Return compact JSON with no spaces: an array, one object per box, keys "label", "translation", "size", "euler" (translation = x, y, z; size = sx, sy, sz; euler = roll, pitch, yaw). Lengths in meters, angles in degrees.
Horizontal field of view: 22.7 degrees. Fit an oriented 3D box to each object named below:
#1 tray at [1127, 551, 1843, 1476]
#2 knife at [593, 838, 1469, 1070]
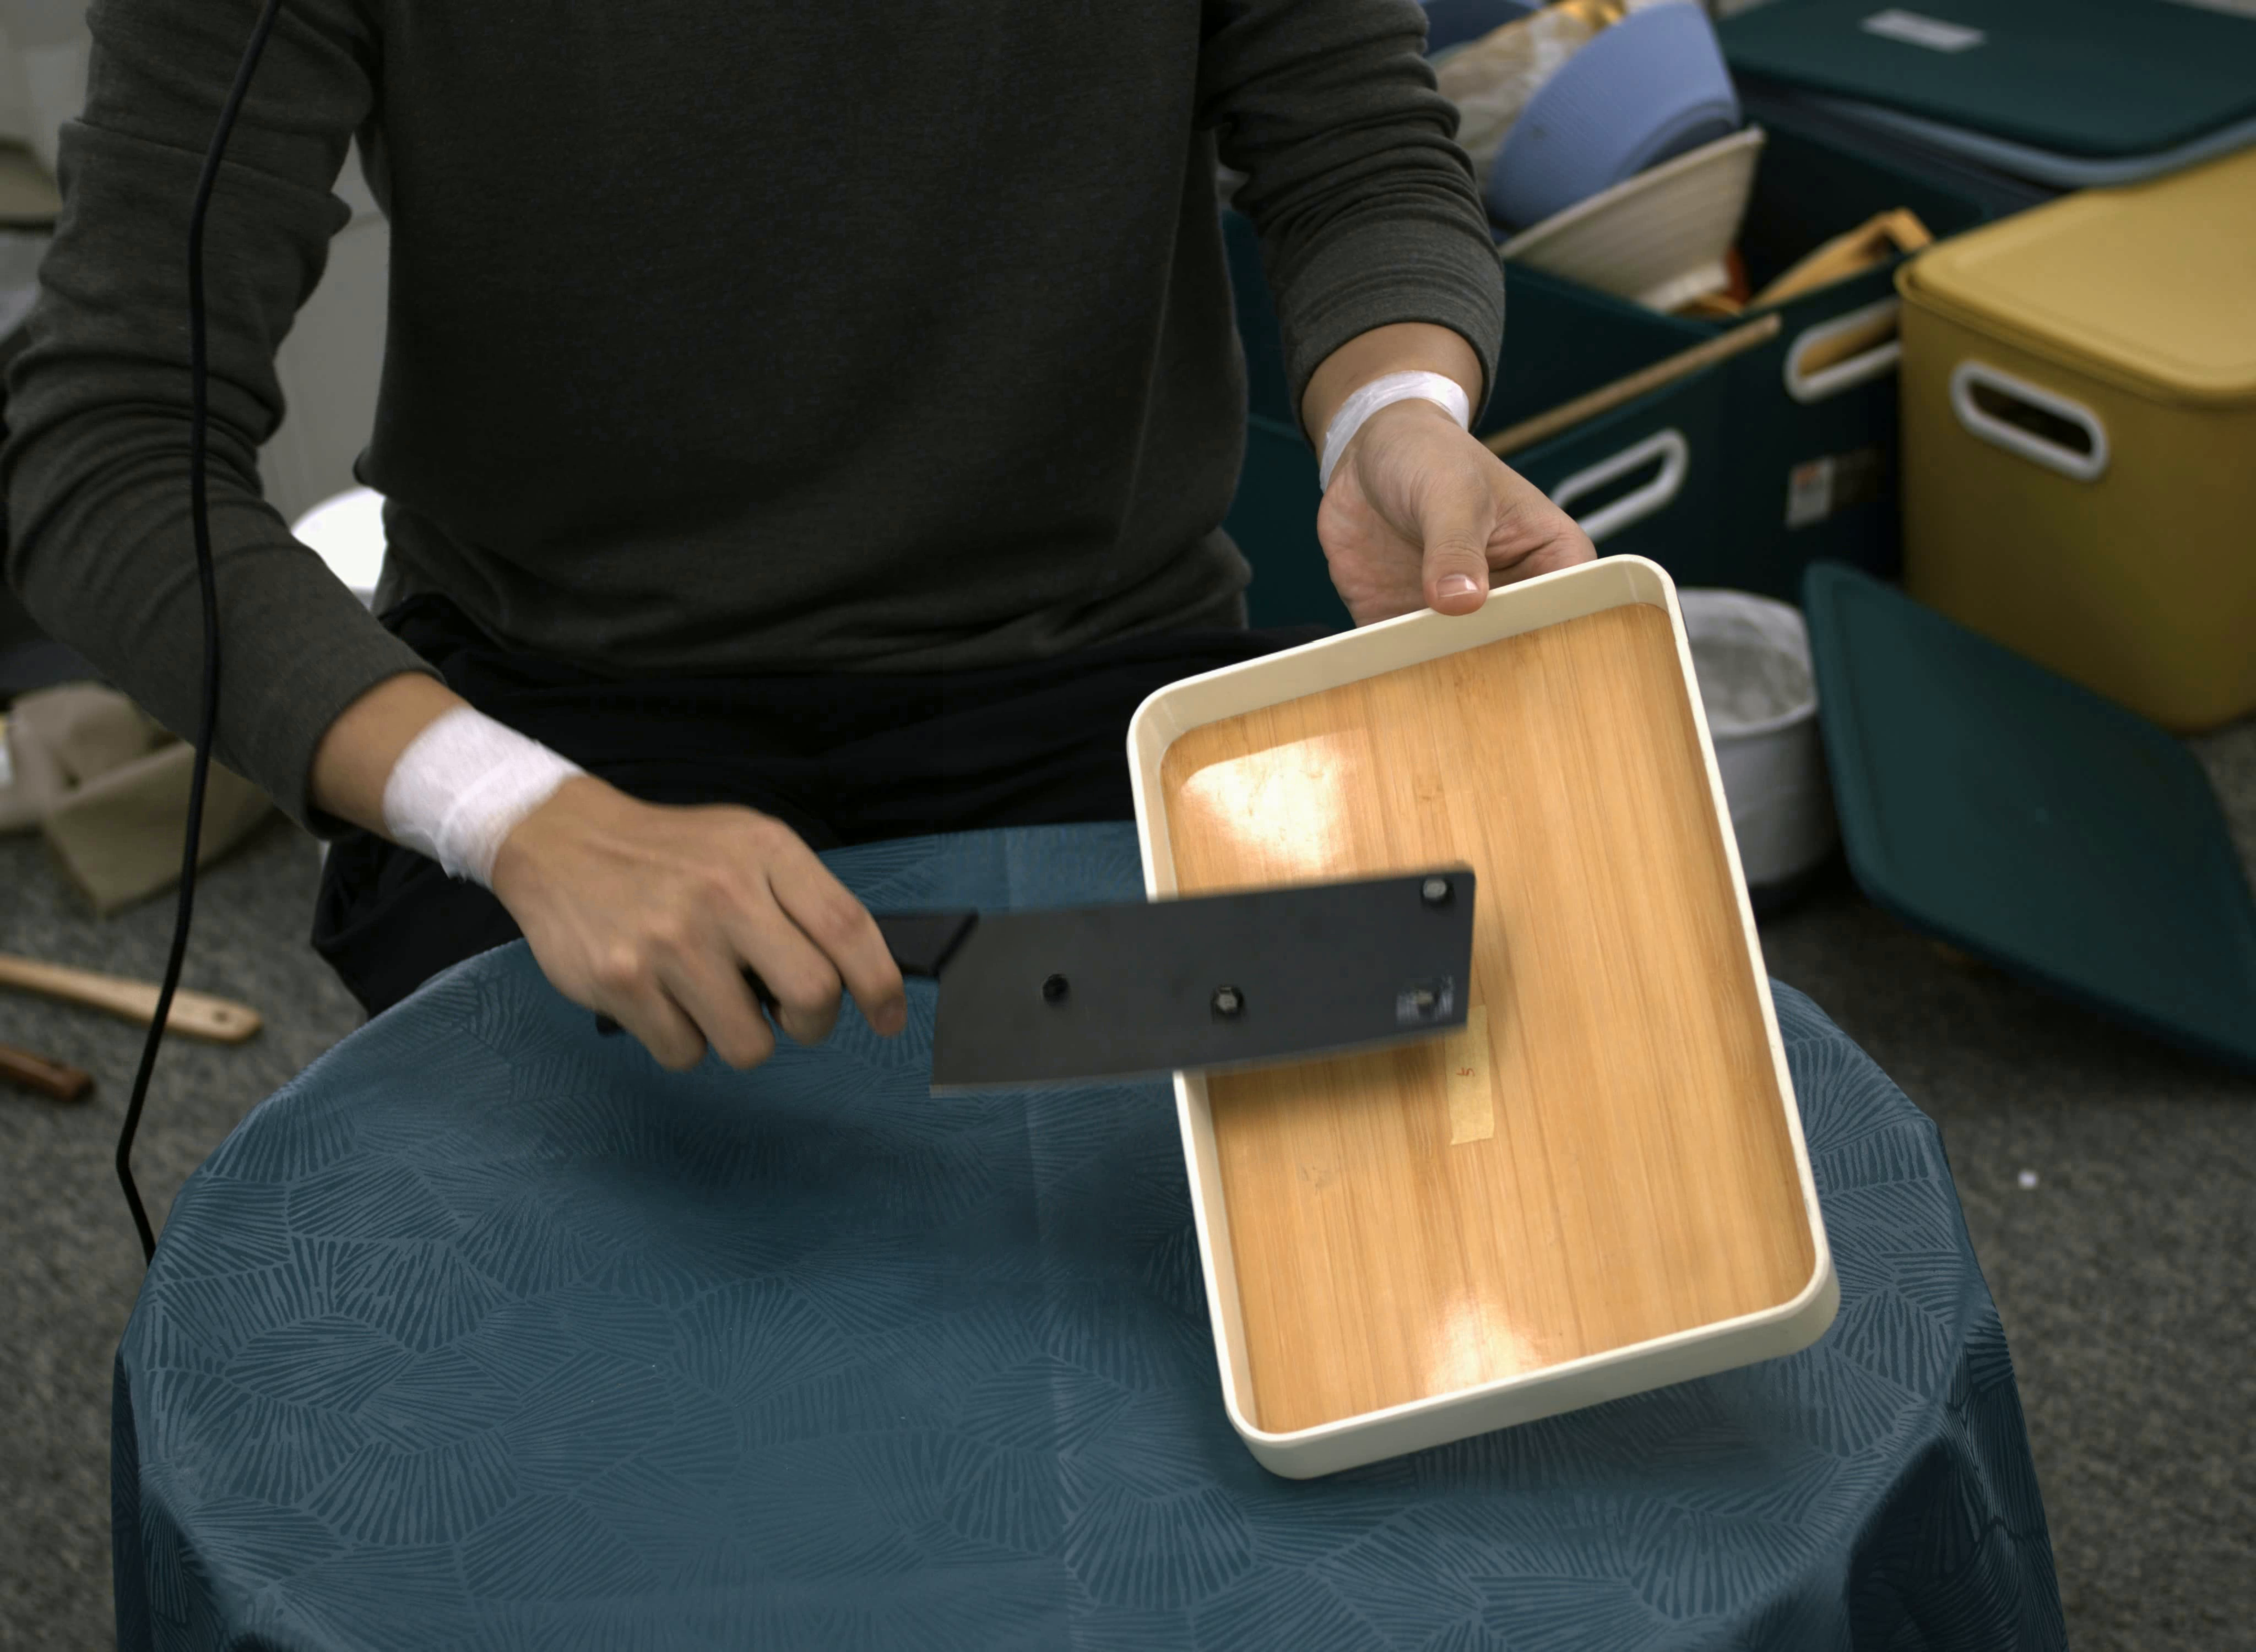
[{"label":"tray","translation":[0.107,0.054,1.780],"size":[0.190,0.027,0.306],"euler":[-15,51,8]},{"label":"knife","translation":[-0.033,0.045,1.820],"size":[0.299,0.020,0.082],"euler":[-3,56,19]}]
